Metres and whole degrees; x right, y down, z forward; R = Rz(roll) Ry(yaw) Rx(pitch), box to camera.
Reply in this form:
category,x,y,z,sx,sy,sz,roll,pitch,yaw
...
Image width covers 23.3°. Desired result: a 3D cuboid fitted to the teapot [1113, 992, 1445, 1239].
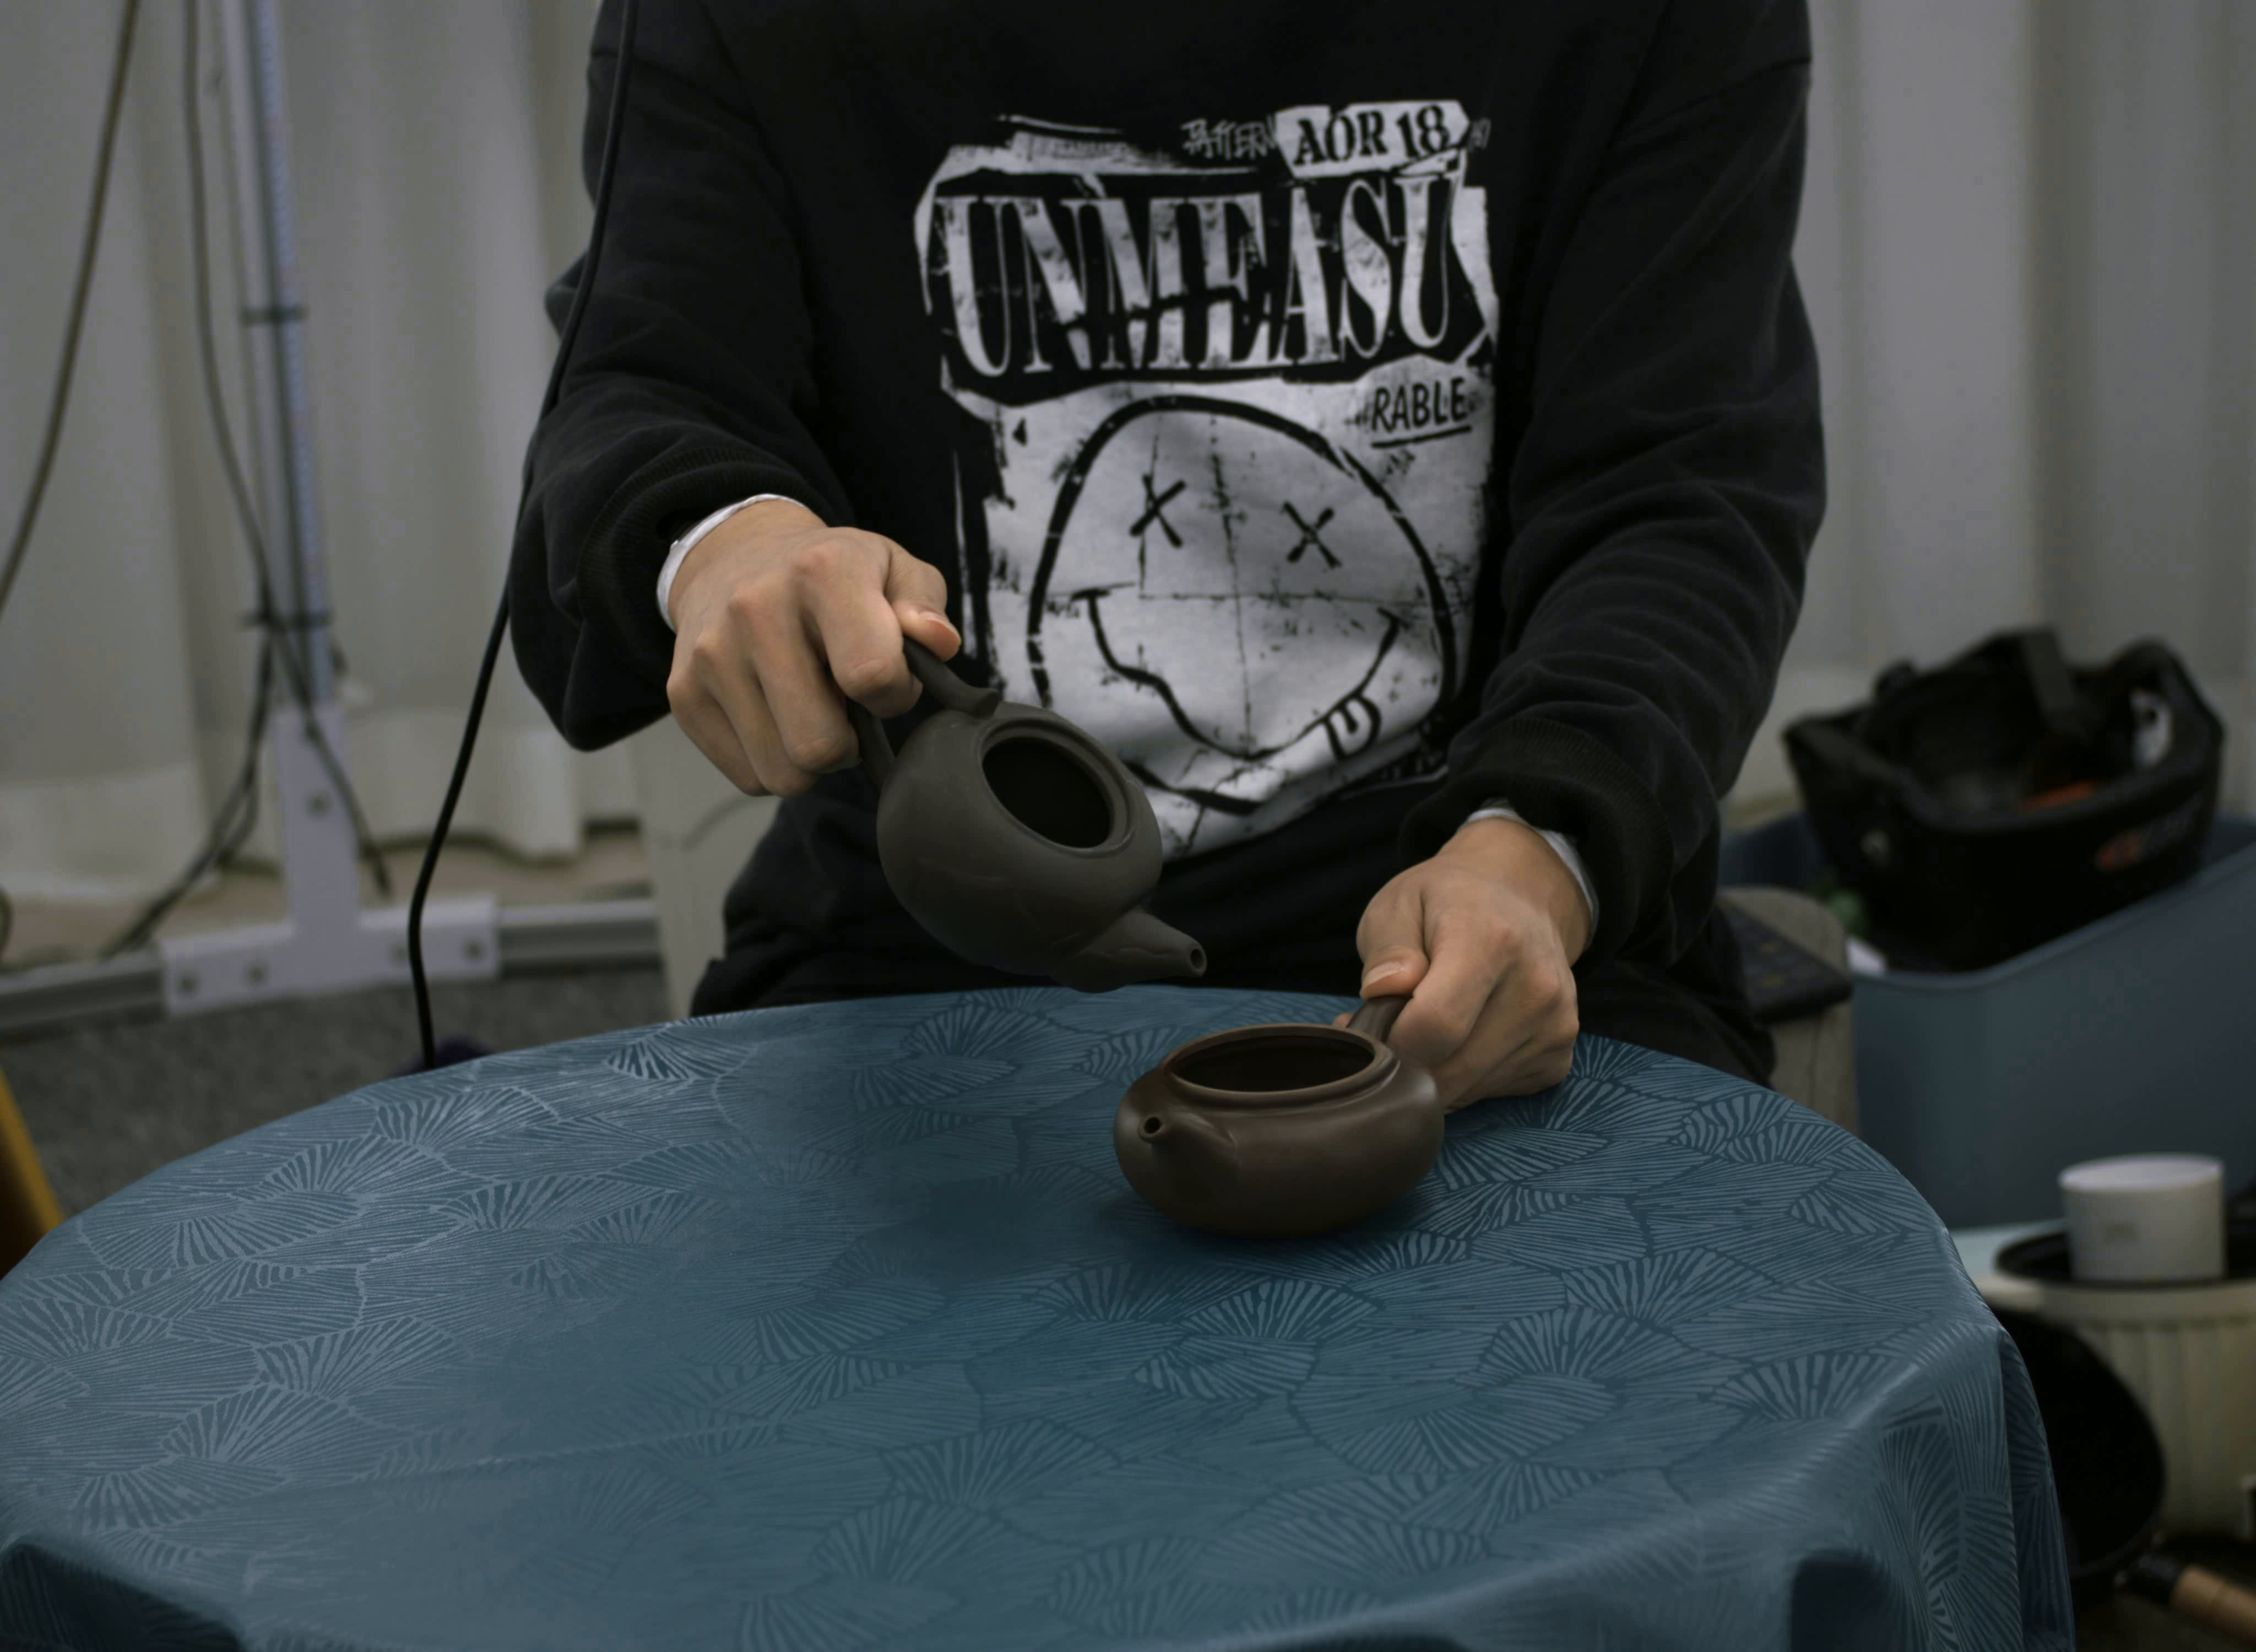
category,x,y,z,sx,sy,sz,roll,pitch,yaw
teapot,0.048,0.090,1.686,0.103,0.053,0.154,7,20,27

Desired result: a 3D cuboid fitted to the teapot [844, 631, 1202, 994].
category,x,y,z,sx,sy,sz,roll,pitch,yaw
teapot,-0.037,0.002,1.697,0.155,0.064,0.092,48,35,17
